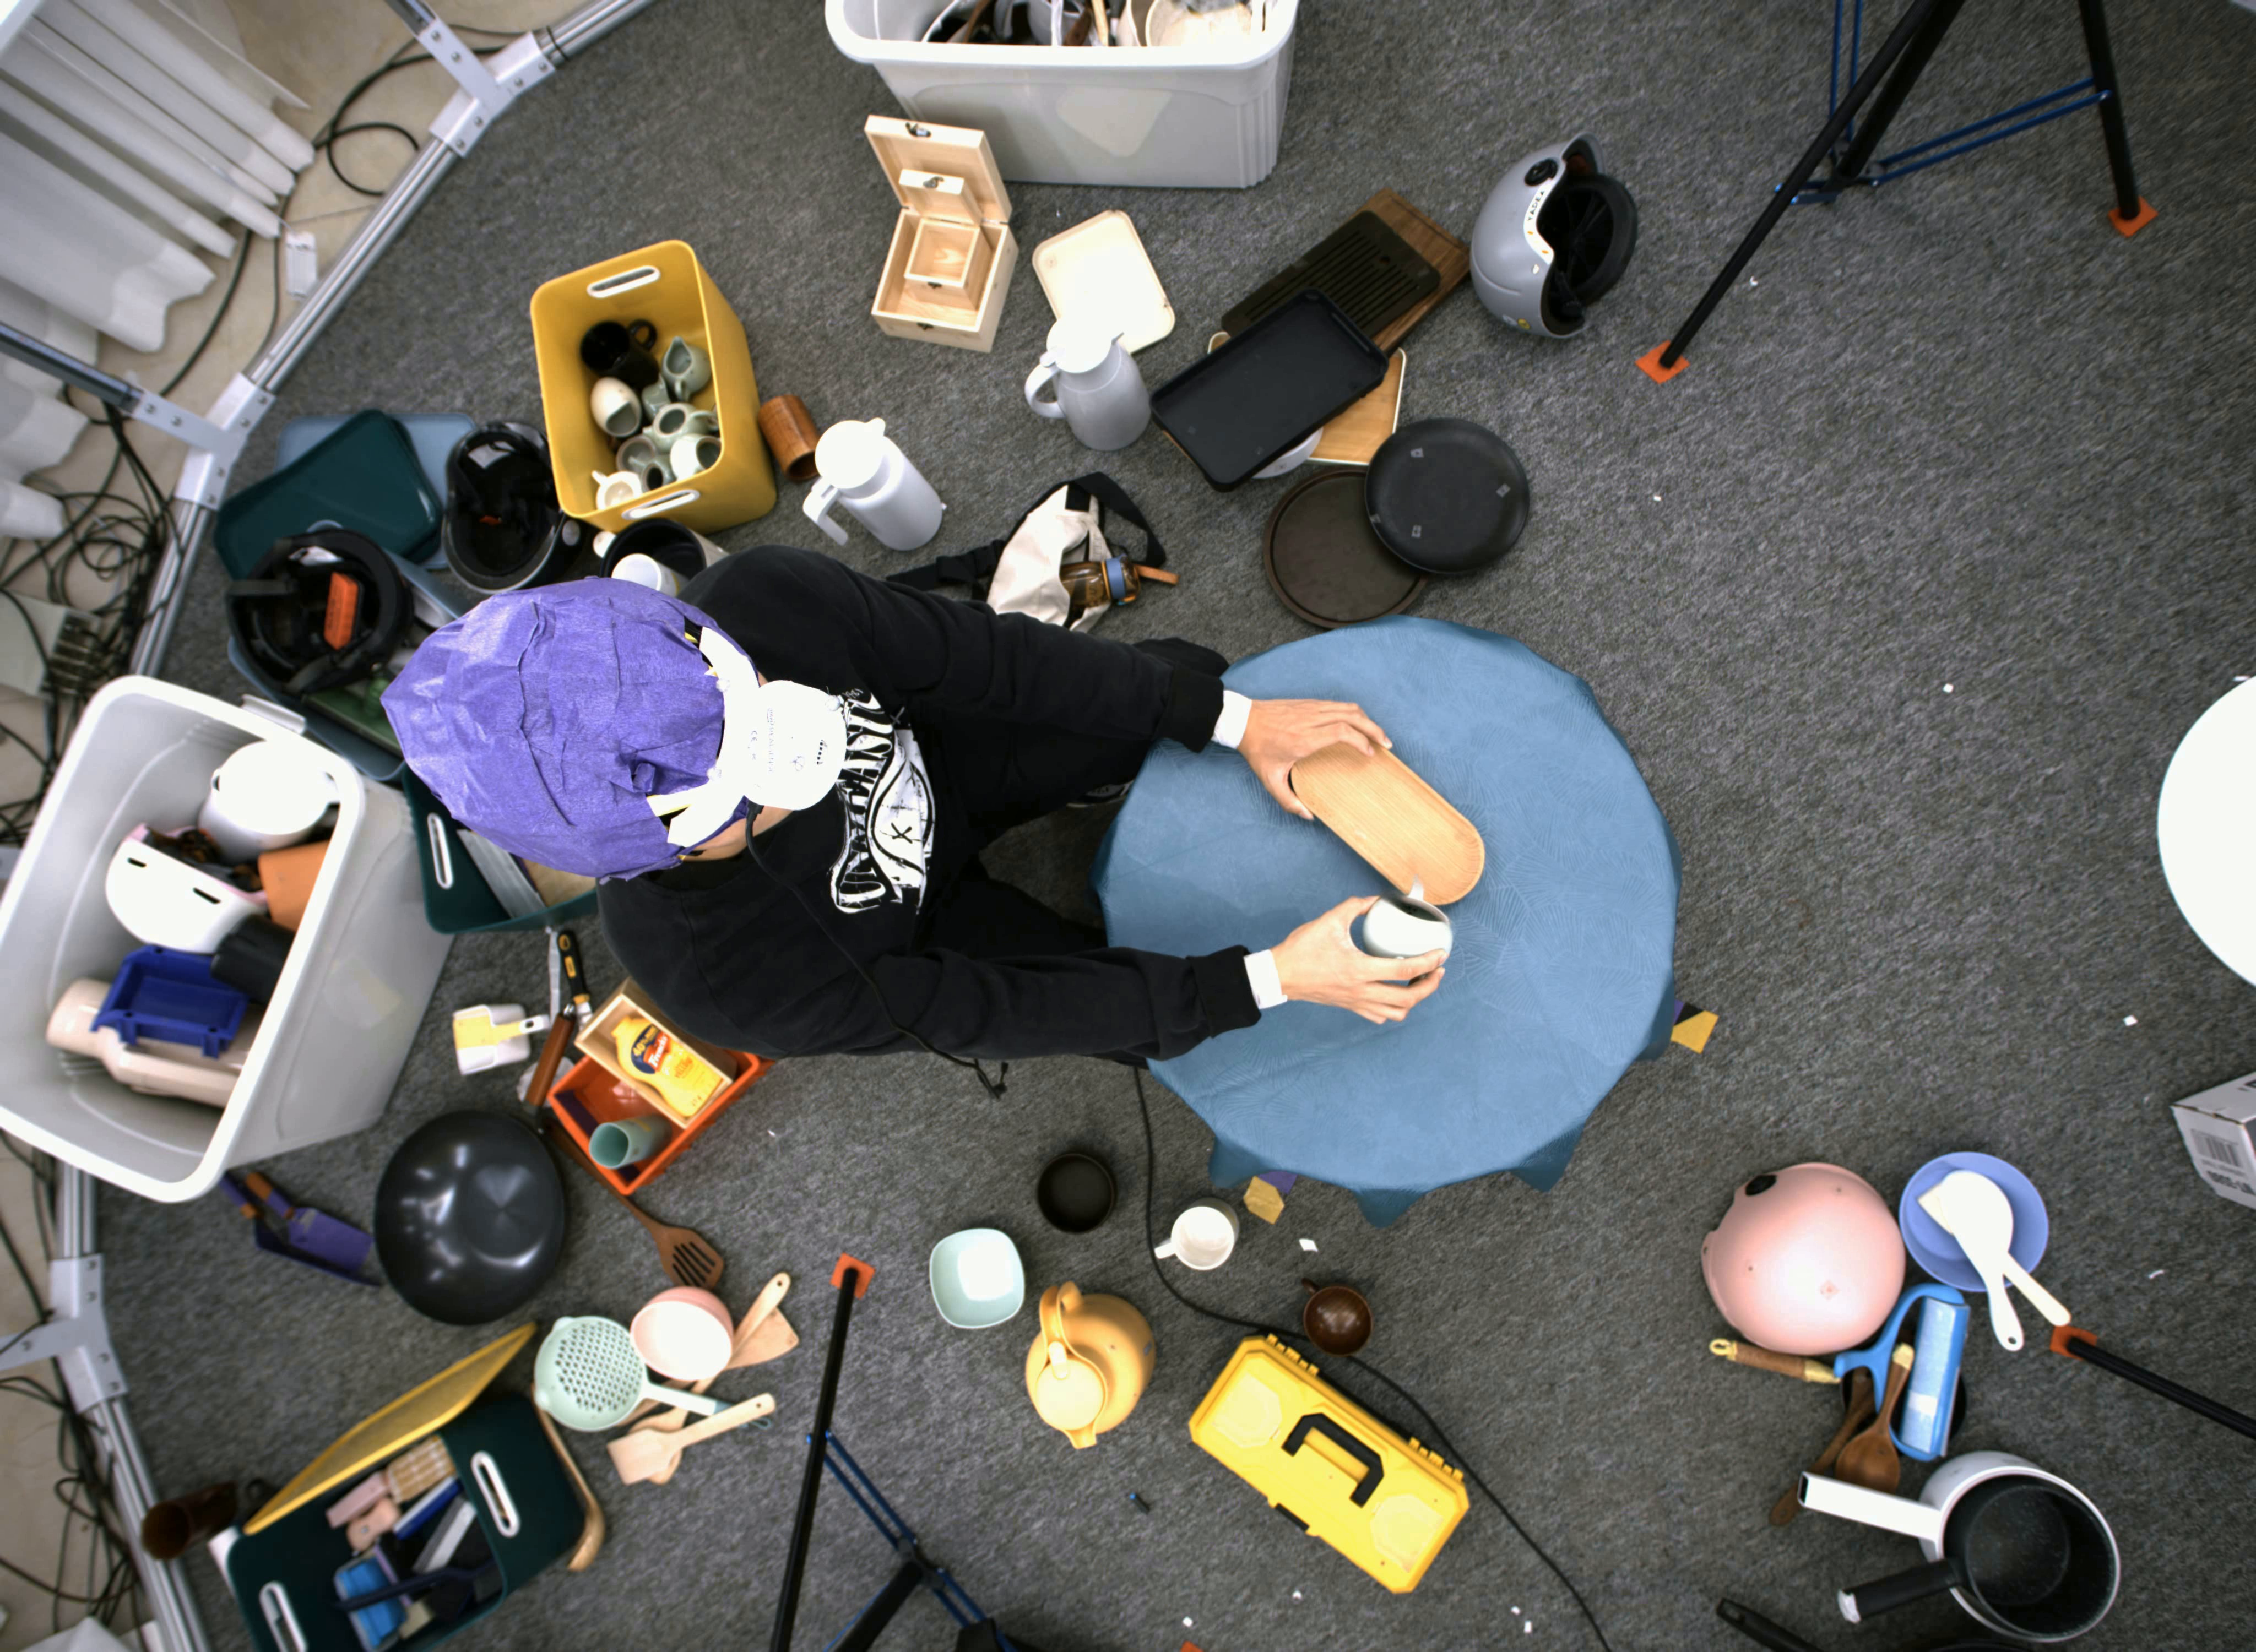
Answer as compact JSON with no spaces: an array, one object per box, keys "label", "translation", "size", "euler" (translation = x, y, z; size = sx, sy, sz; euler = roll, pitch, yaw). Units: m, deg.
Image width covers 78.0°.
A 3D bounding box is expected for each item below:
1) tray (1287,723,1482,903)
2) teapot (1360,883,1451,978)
[{"label":"tray","translation":[0.266,-0.015,1.435],"size":[0.230,0.020,0.102],"euler":[42,96,9]},{"label":"teapot","translation":[0.269,0.105,1.338],"size":[0.088,0.141,0.076],"euler":[20,108,8]}]
